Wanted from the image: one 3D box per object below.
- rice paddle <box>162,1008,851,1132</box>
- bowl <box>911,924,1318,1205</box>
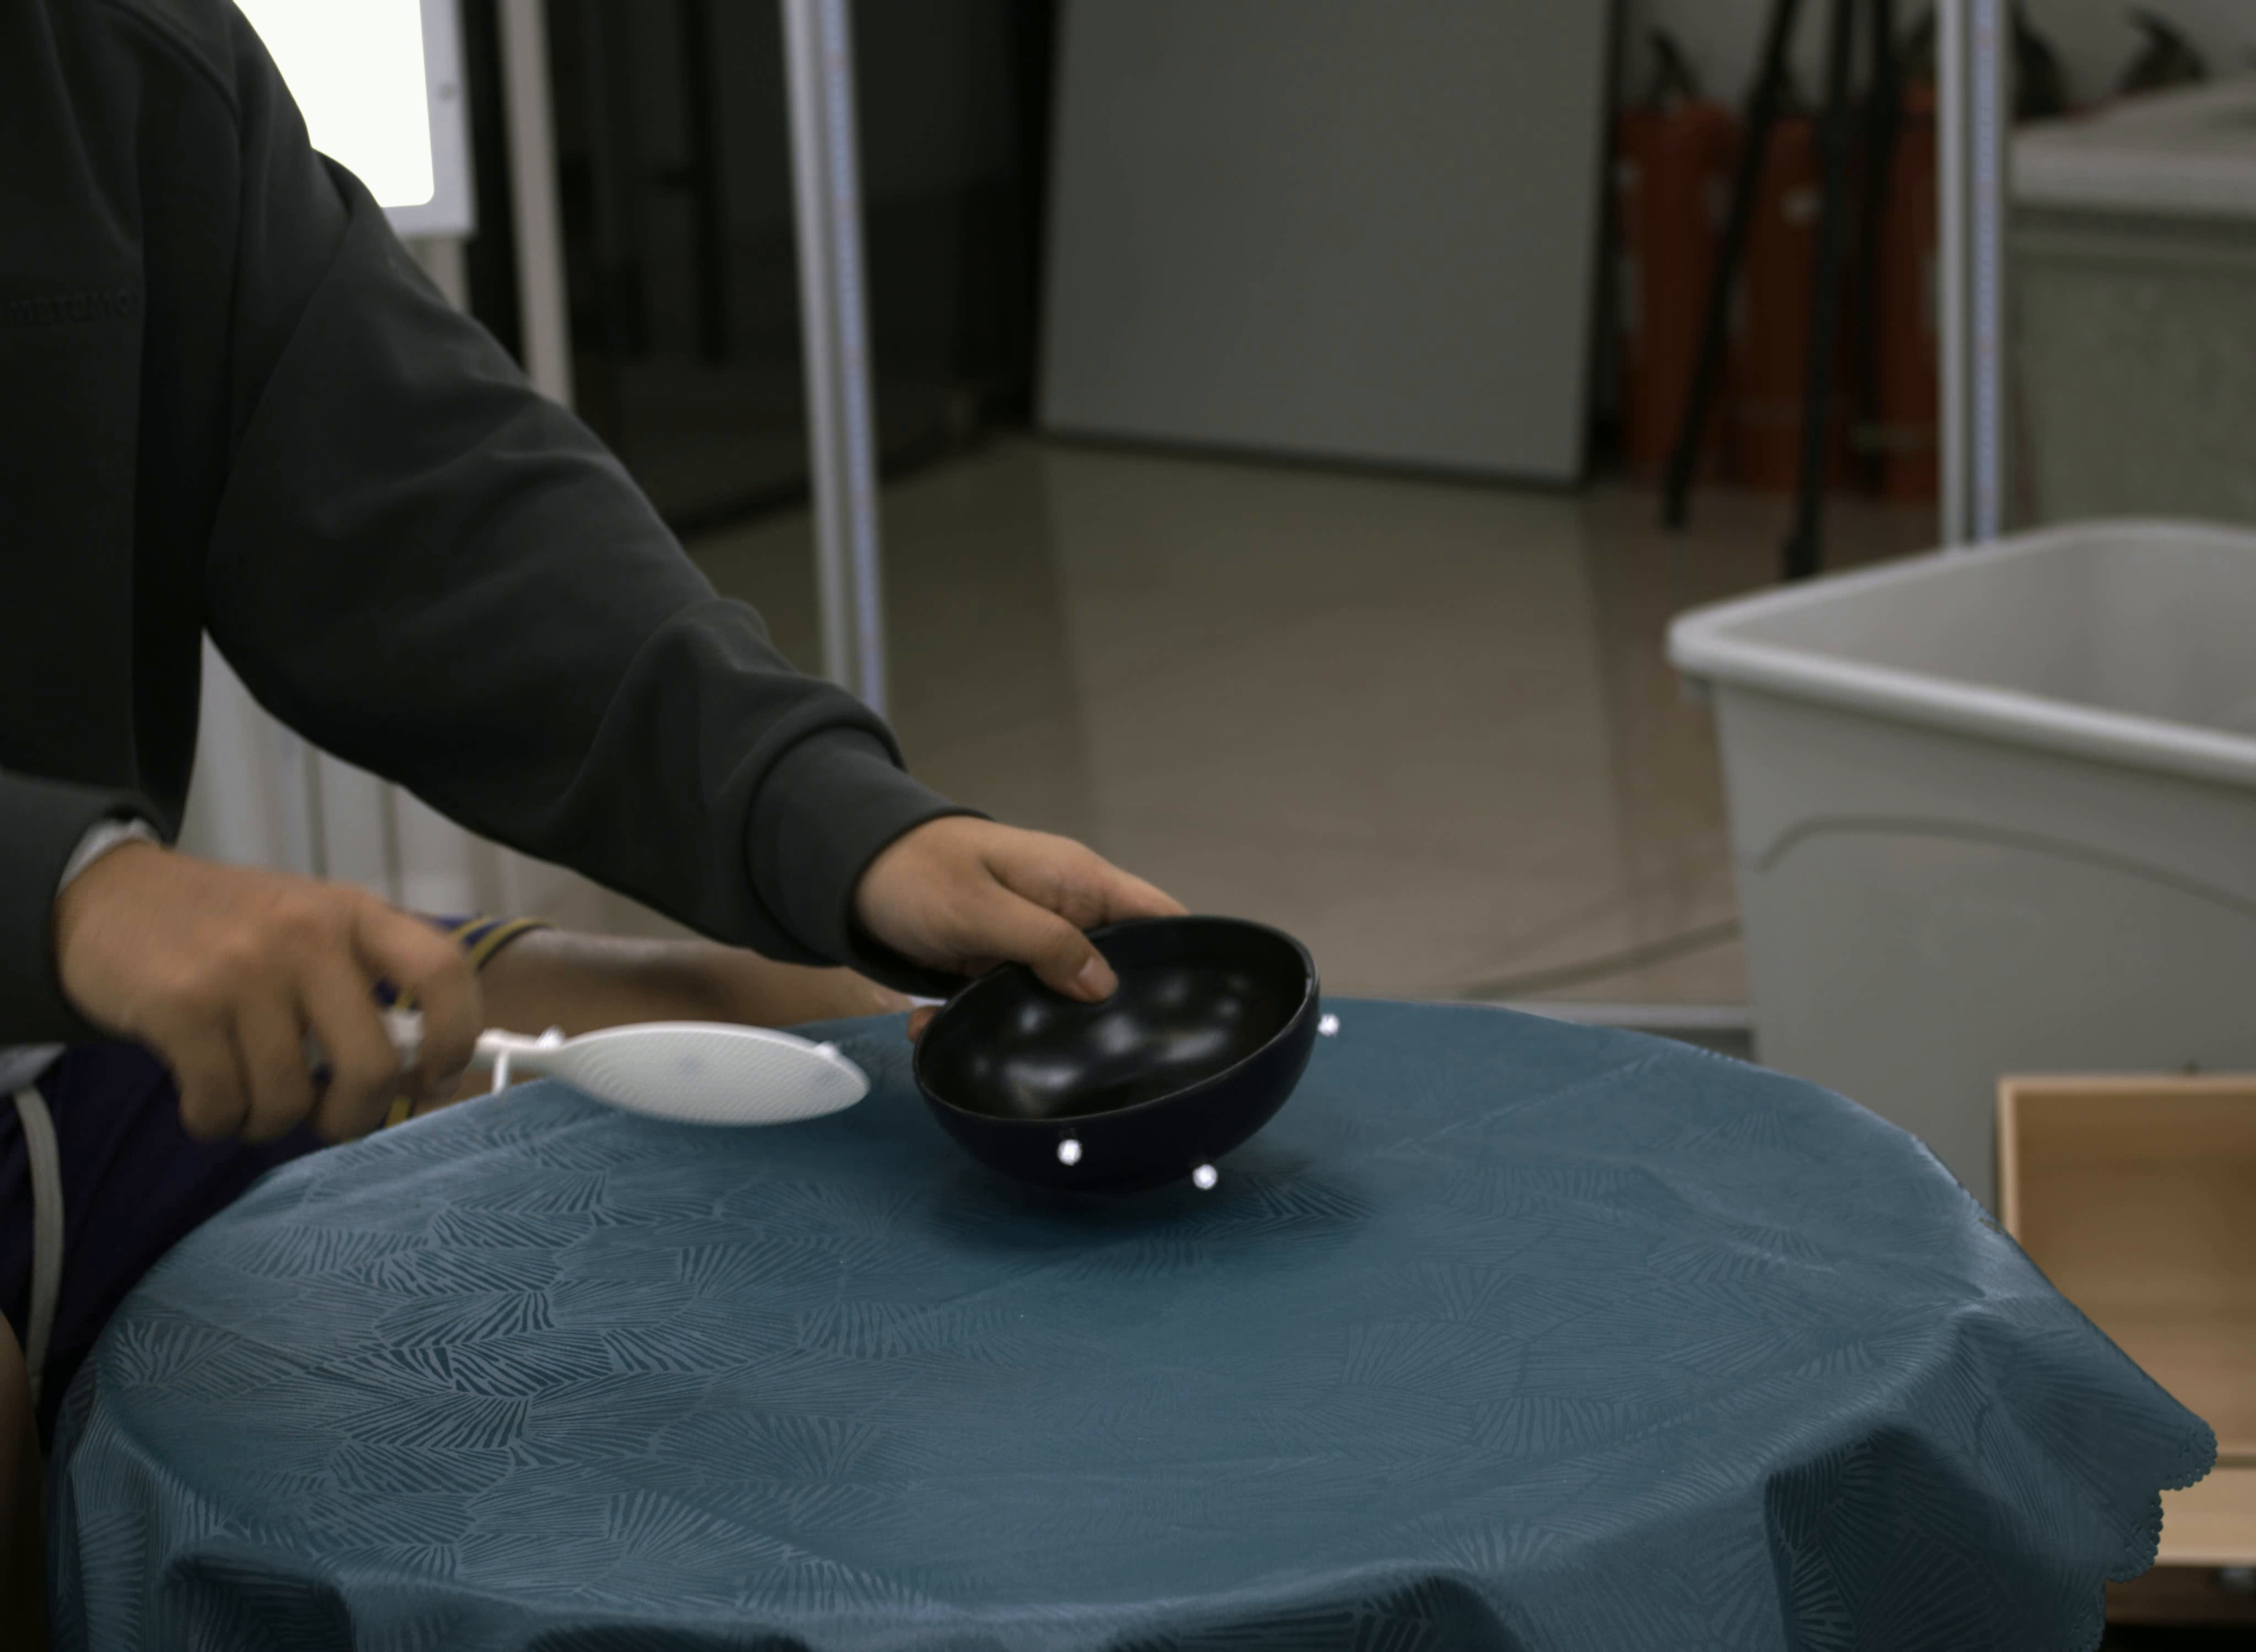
[{"bbox_3d":[-0.181,0.072,1.596,0.203,0.030,0.068,2,-23,7],"label":"rice paddle"},{"bbox_3d":[0.000,0.086,1.780,0.139,0.050,0.140,-14,22,5],"label":"bowl"}]
